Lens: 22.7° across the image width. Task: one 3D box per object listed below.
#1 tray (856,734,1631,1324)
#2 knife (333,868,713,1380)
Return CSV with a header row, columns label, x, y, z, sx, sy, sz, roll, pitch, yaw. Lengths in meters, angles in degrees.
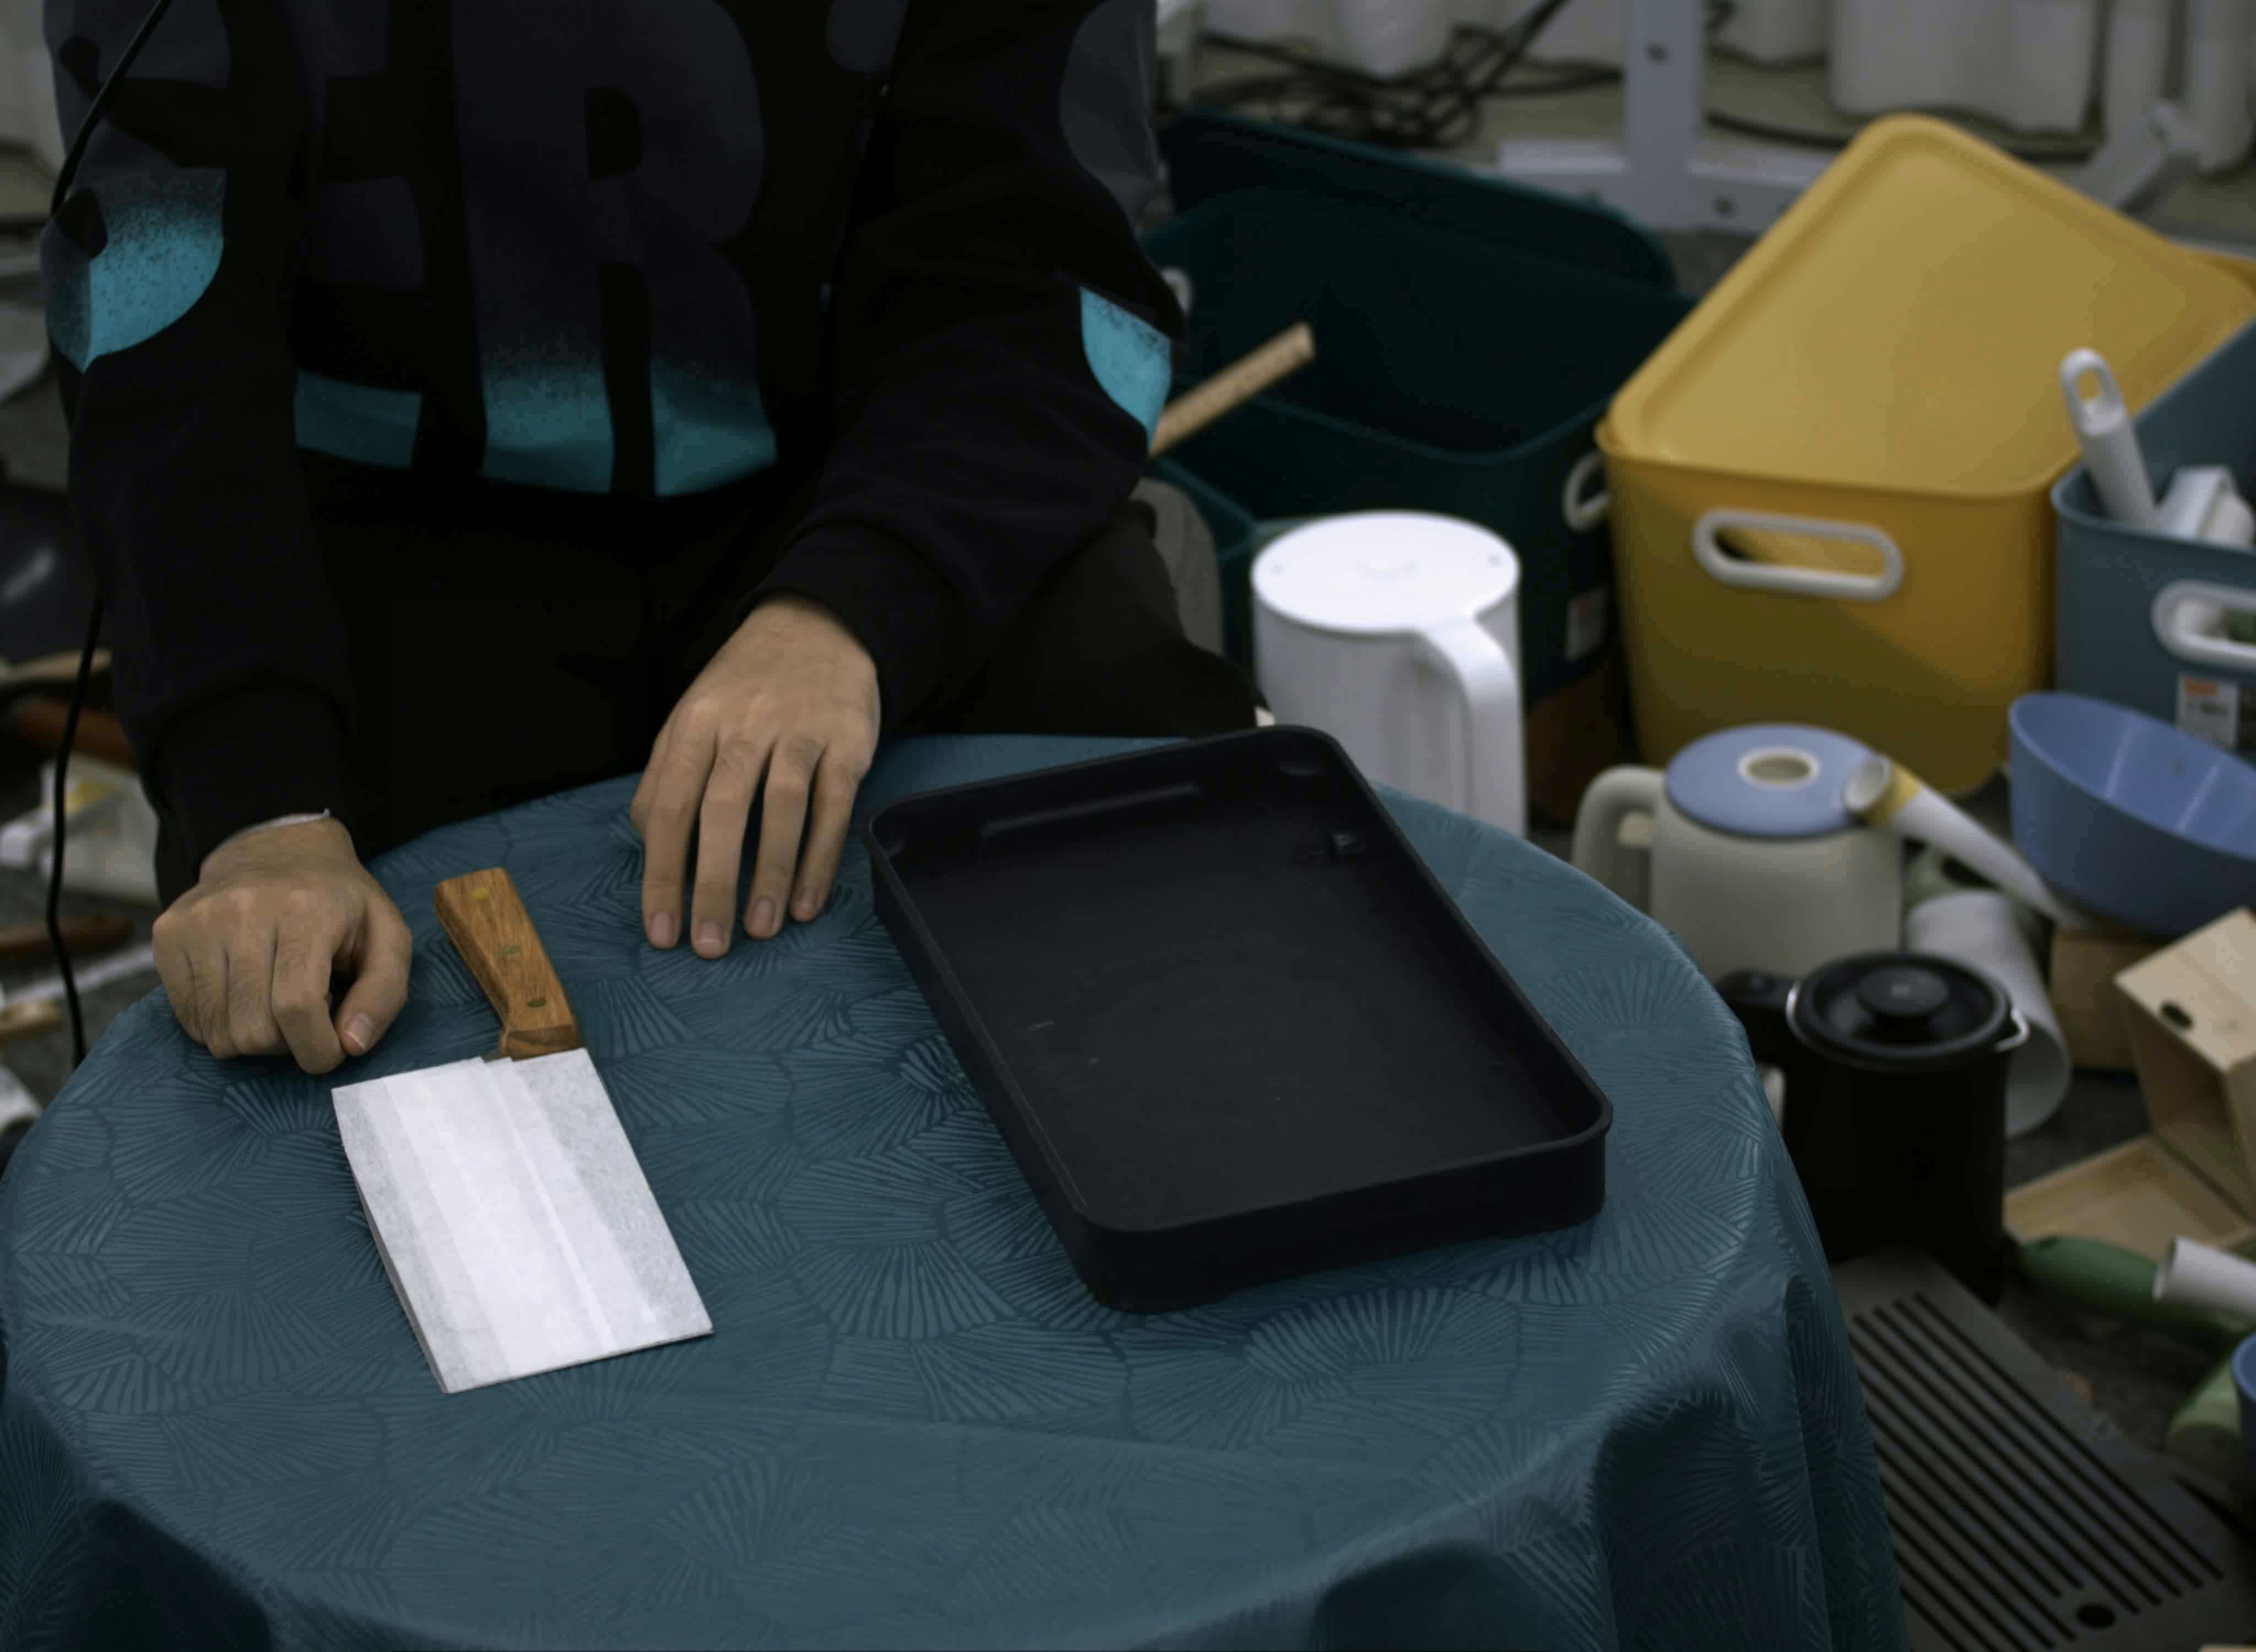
label,x,y,z,sx,sy,sz,roll,pitch,yaw
tray,0.033,0.063,1.932,0.184,0.036,0.321,-12,28,-15
knife,-0.219,0.100,1.909,0.093,0.021,0.309,-12,31,-14
